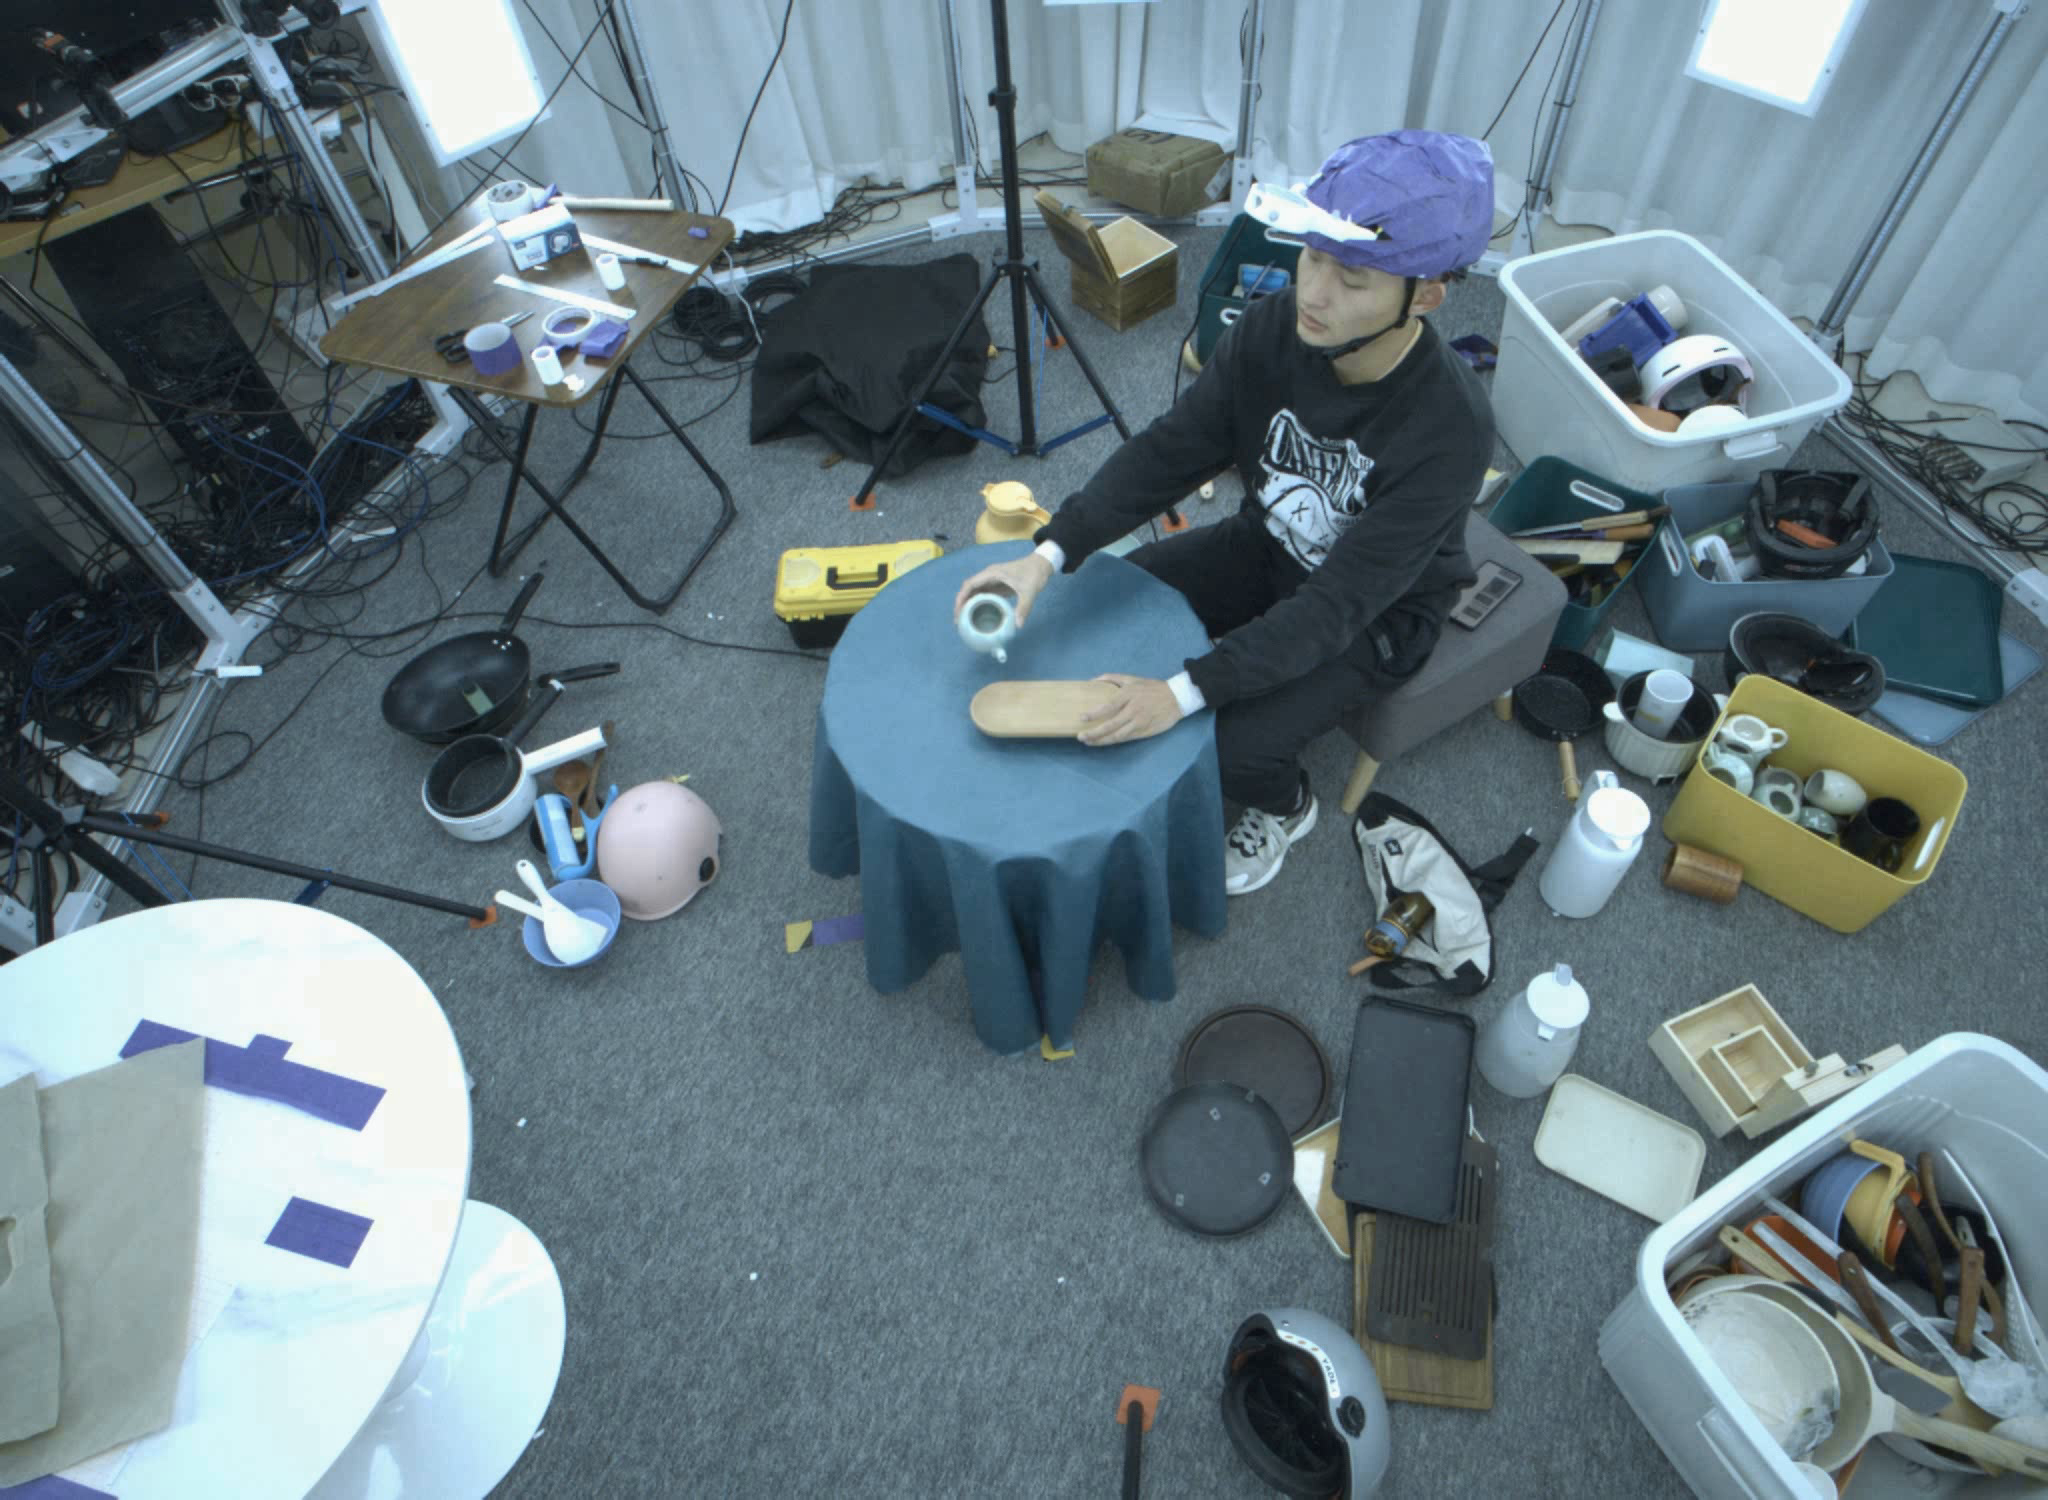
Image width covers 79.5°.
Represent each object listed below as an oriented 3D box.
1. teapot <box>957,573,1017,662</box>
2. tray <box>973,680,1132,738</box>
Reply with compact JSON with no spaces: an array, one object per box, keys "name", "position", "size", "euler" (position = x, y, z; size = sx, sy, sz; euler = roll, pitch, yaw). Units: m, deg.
[{"name":"teapot","position":[-0.055,-0.187,1.798],"size":[0.088,0.075,0.143],"euler":[-19,82,-5]},{"name":"tray","position":[0.041,-0.059,1.787],"size":[0.231,0.020,0.100],"euler":[0,53,2]}]
